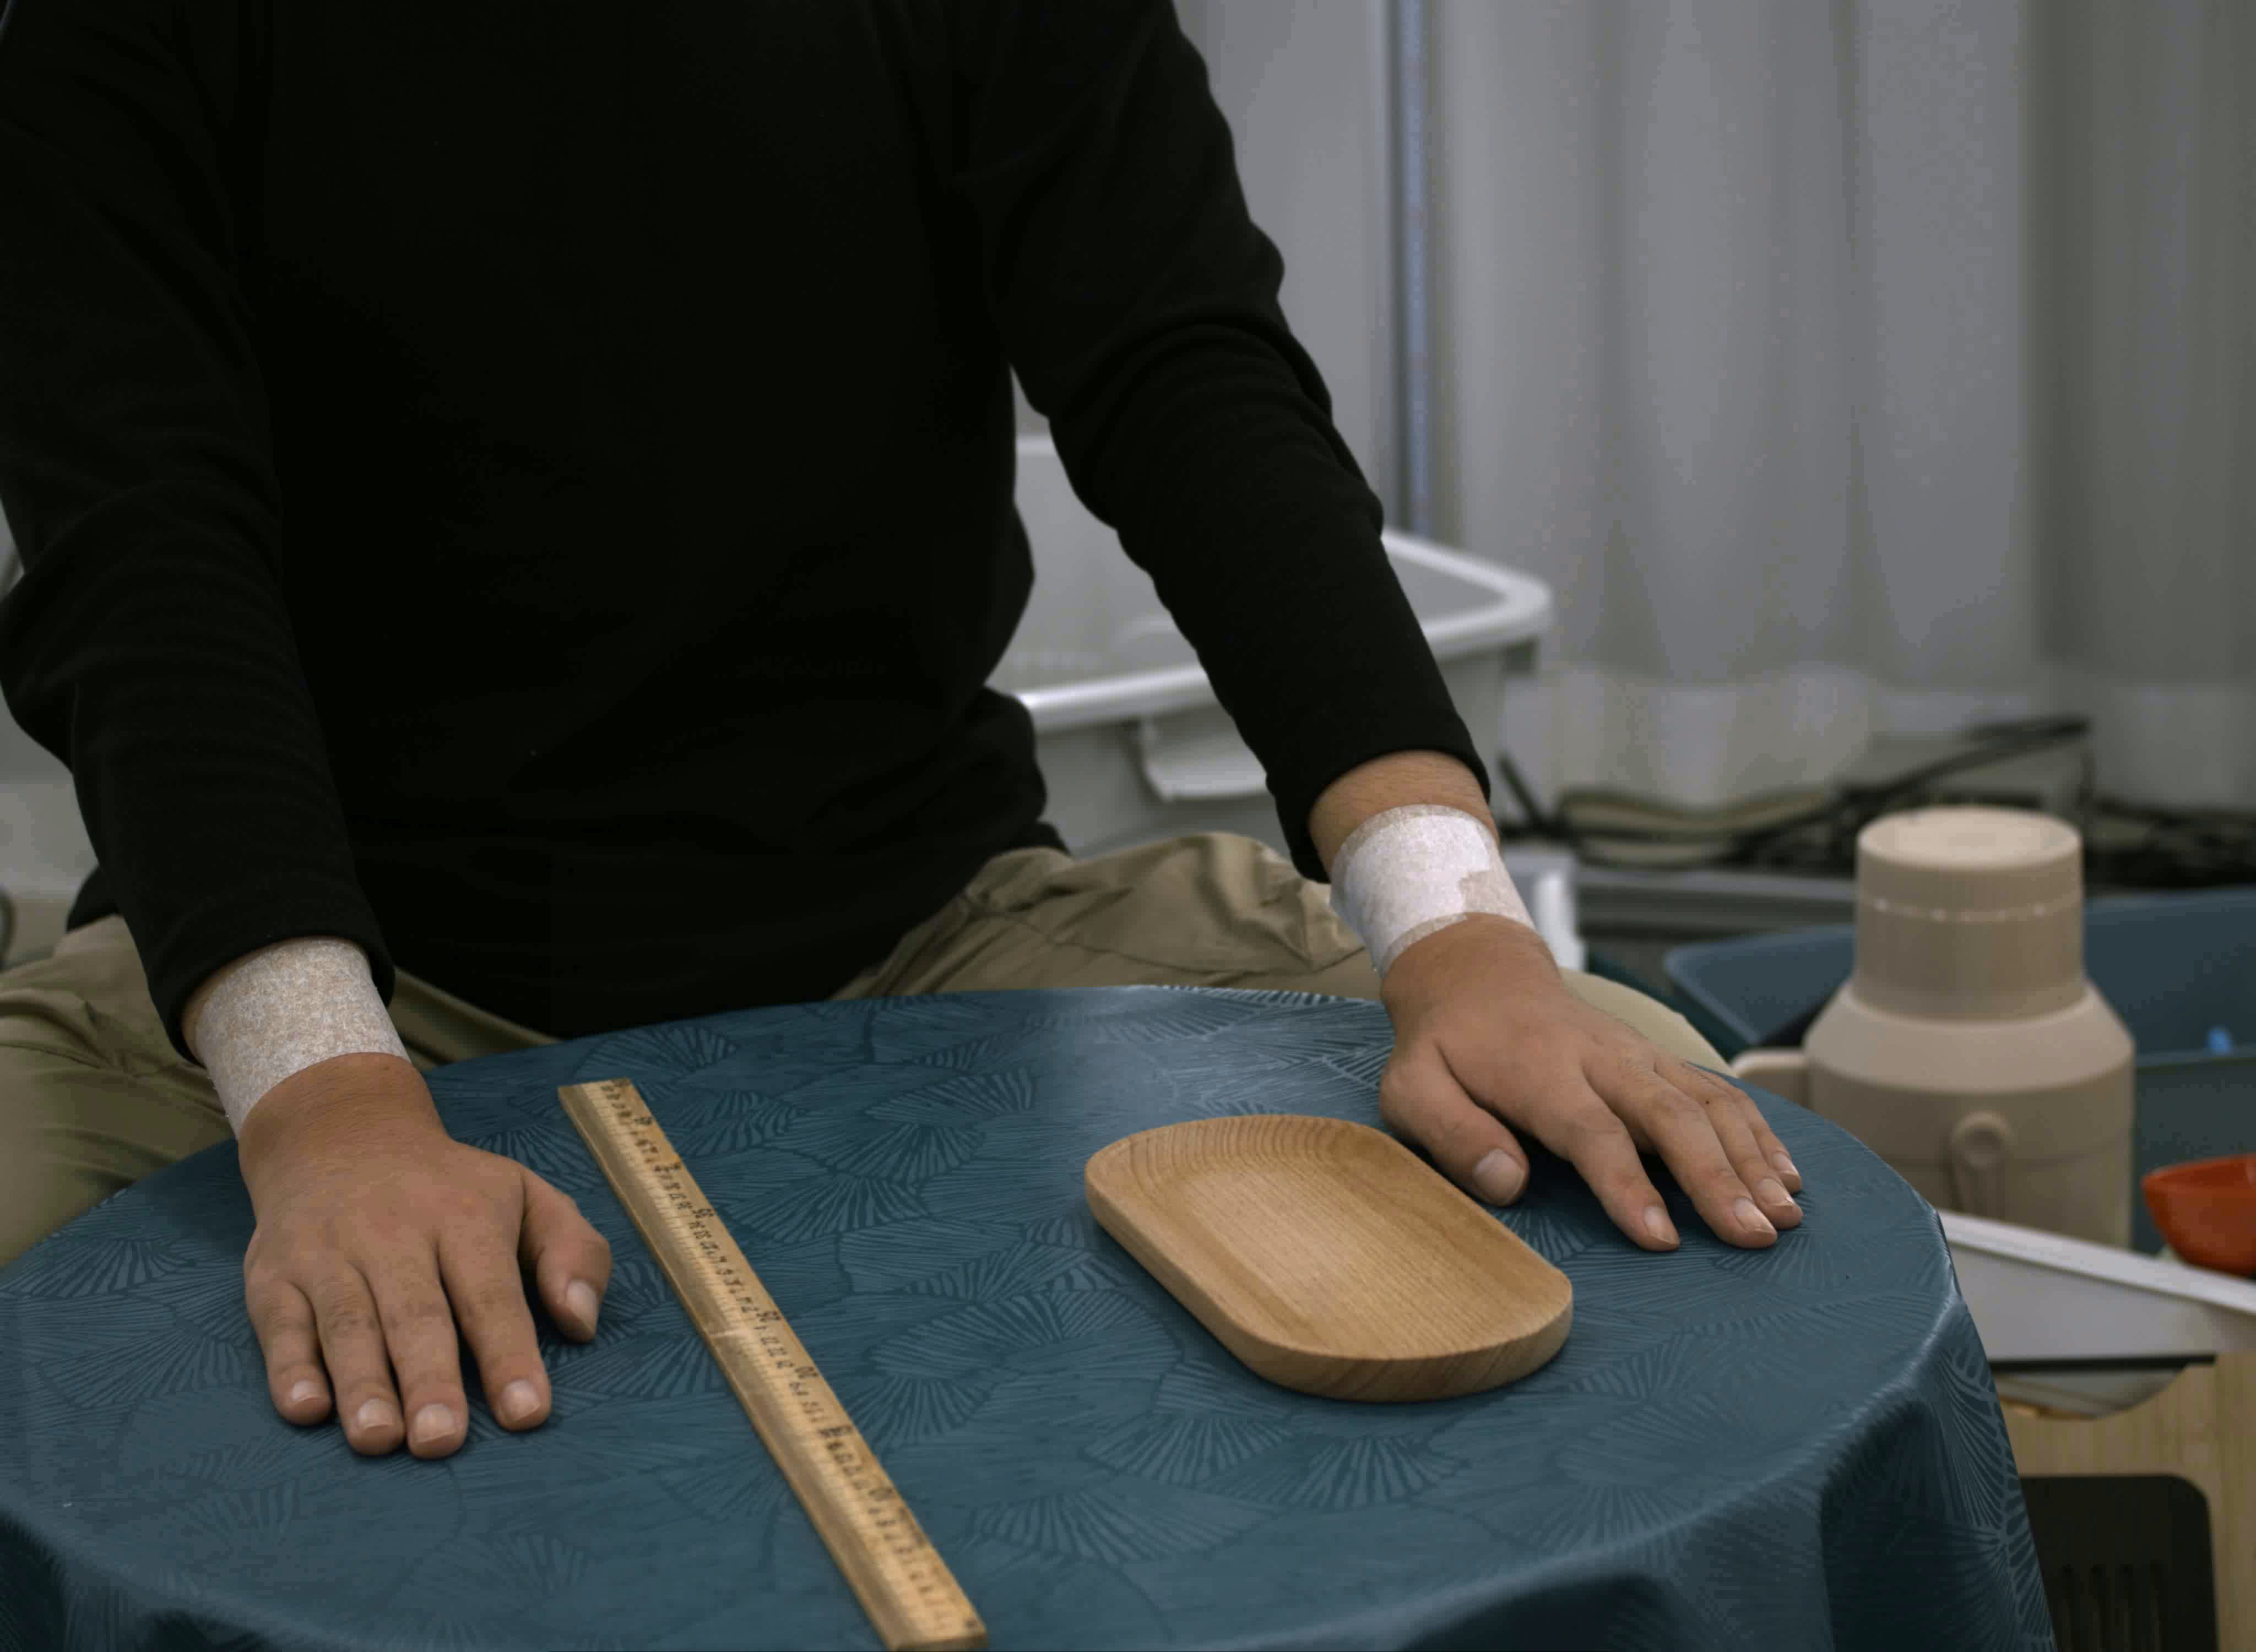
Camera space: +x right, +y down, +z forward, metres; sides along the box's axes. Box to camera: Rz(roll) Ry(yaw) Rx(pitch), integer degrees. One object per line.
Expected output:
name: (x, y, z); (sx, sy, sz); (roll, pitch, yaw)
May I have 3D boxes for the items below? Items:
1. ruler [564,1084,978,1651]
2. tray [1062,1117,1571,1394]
ruler: (-0.112, 0.148, 1.603); (0.026, 0.006, 0.504); (-5, 15, -14)
tray: (0.054, 0.126, 1.629); (0.101, 0.020, 0.233); (-6, 13, -20)
